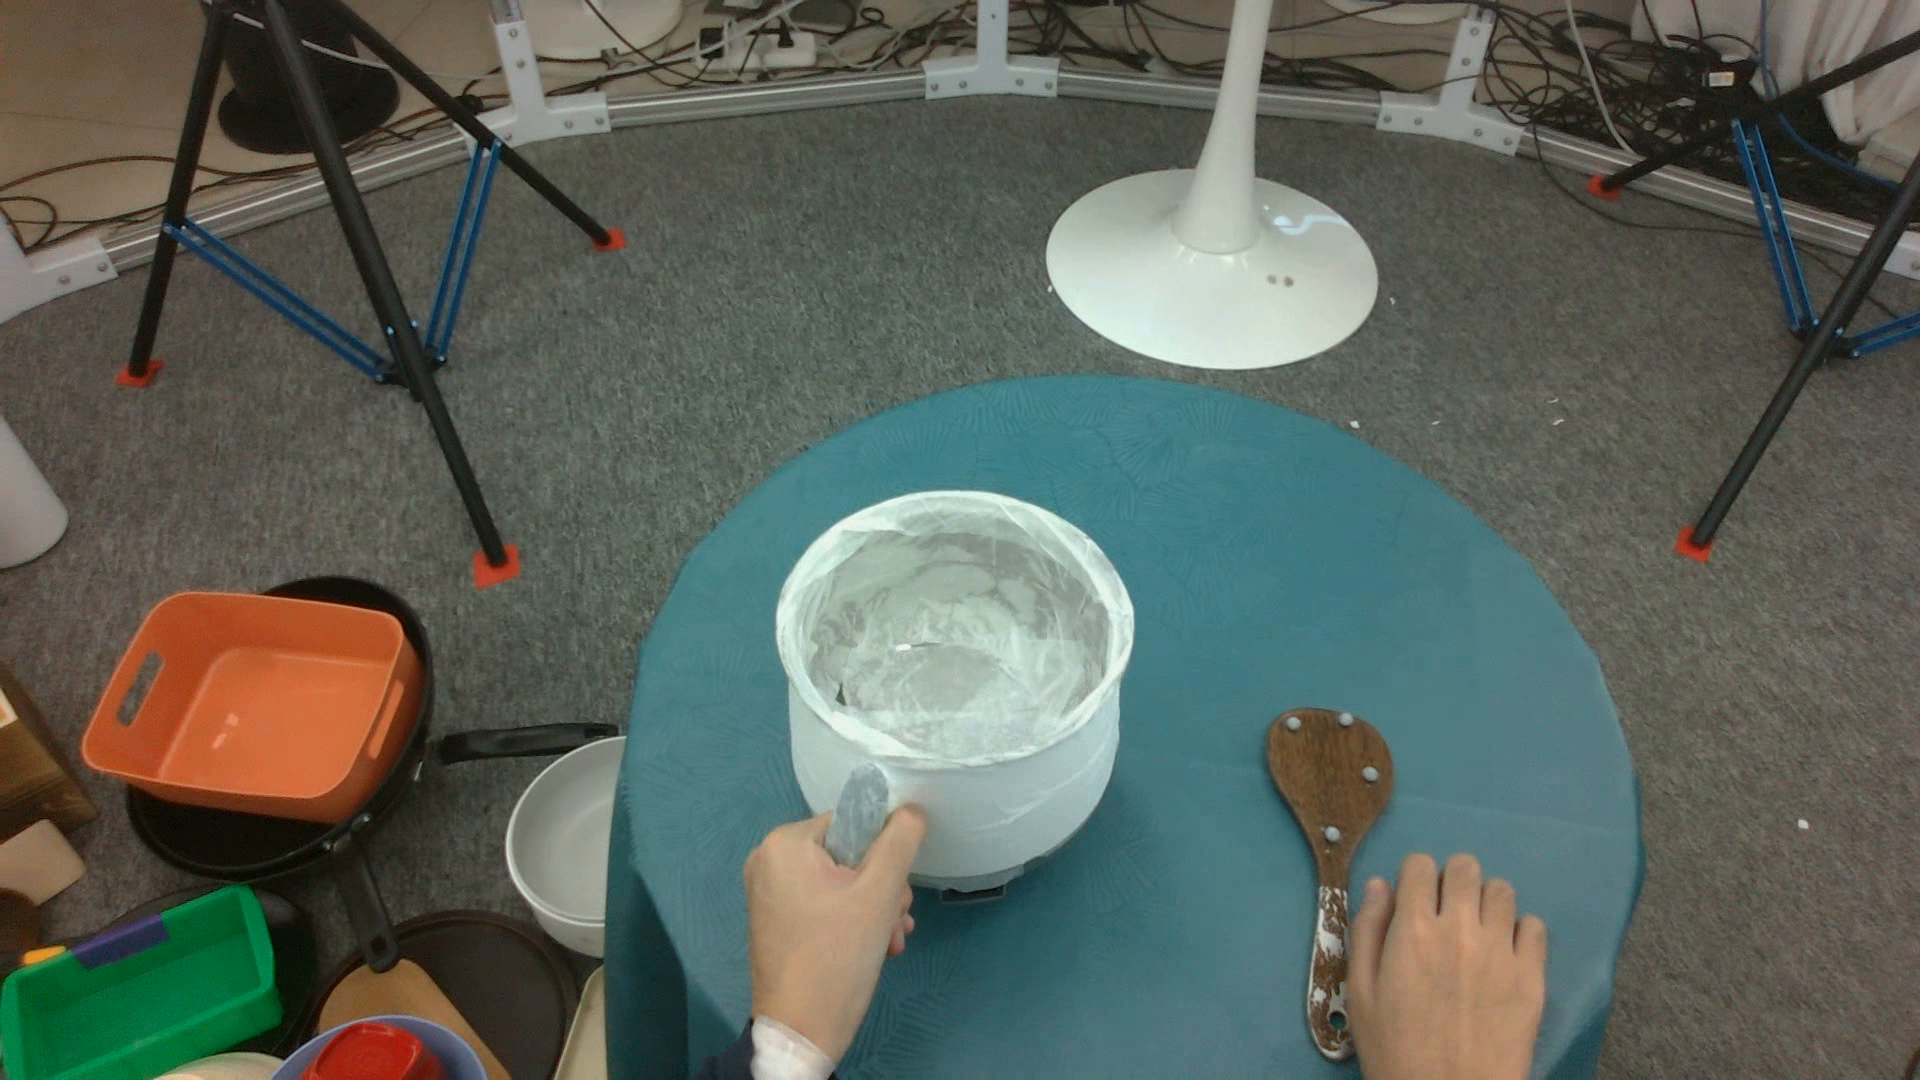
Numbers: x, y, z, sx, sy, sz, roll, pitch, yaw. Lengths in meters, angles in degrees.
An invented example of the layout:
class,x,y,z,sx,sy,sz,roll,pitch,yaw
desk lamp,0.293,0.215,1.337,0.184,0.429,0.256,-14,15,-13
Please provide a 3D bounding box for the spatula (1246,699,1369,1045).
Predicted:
class,x,y,z,sx,sy,sz,roll,pitch,yaw
spatula,0.192,0.175,0.764,0.072,0.009,0.217,8,49,6

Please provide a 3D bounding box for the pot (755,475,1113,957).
class,x,y,z,sx,sy,sz,roll,pitch,yaw
pot,-0.022,0.091,0.706,0.178,0.136,0.235,14,47,15
